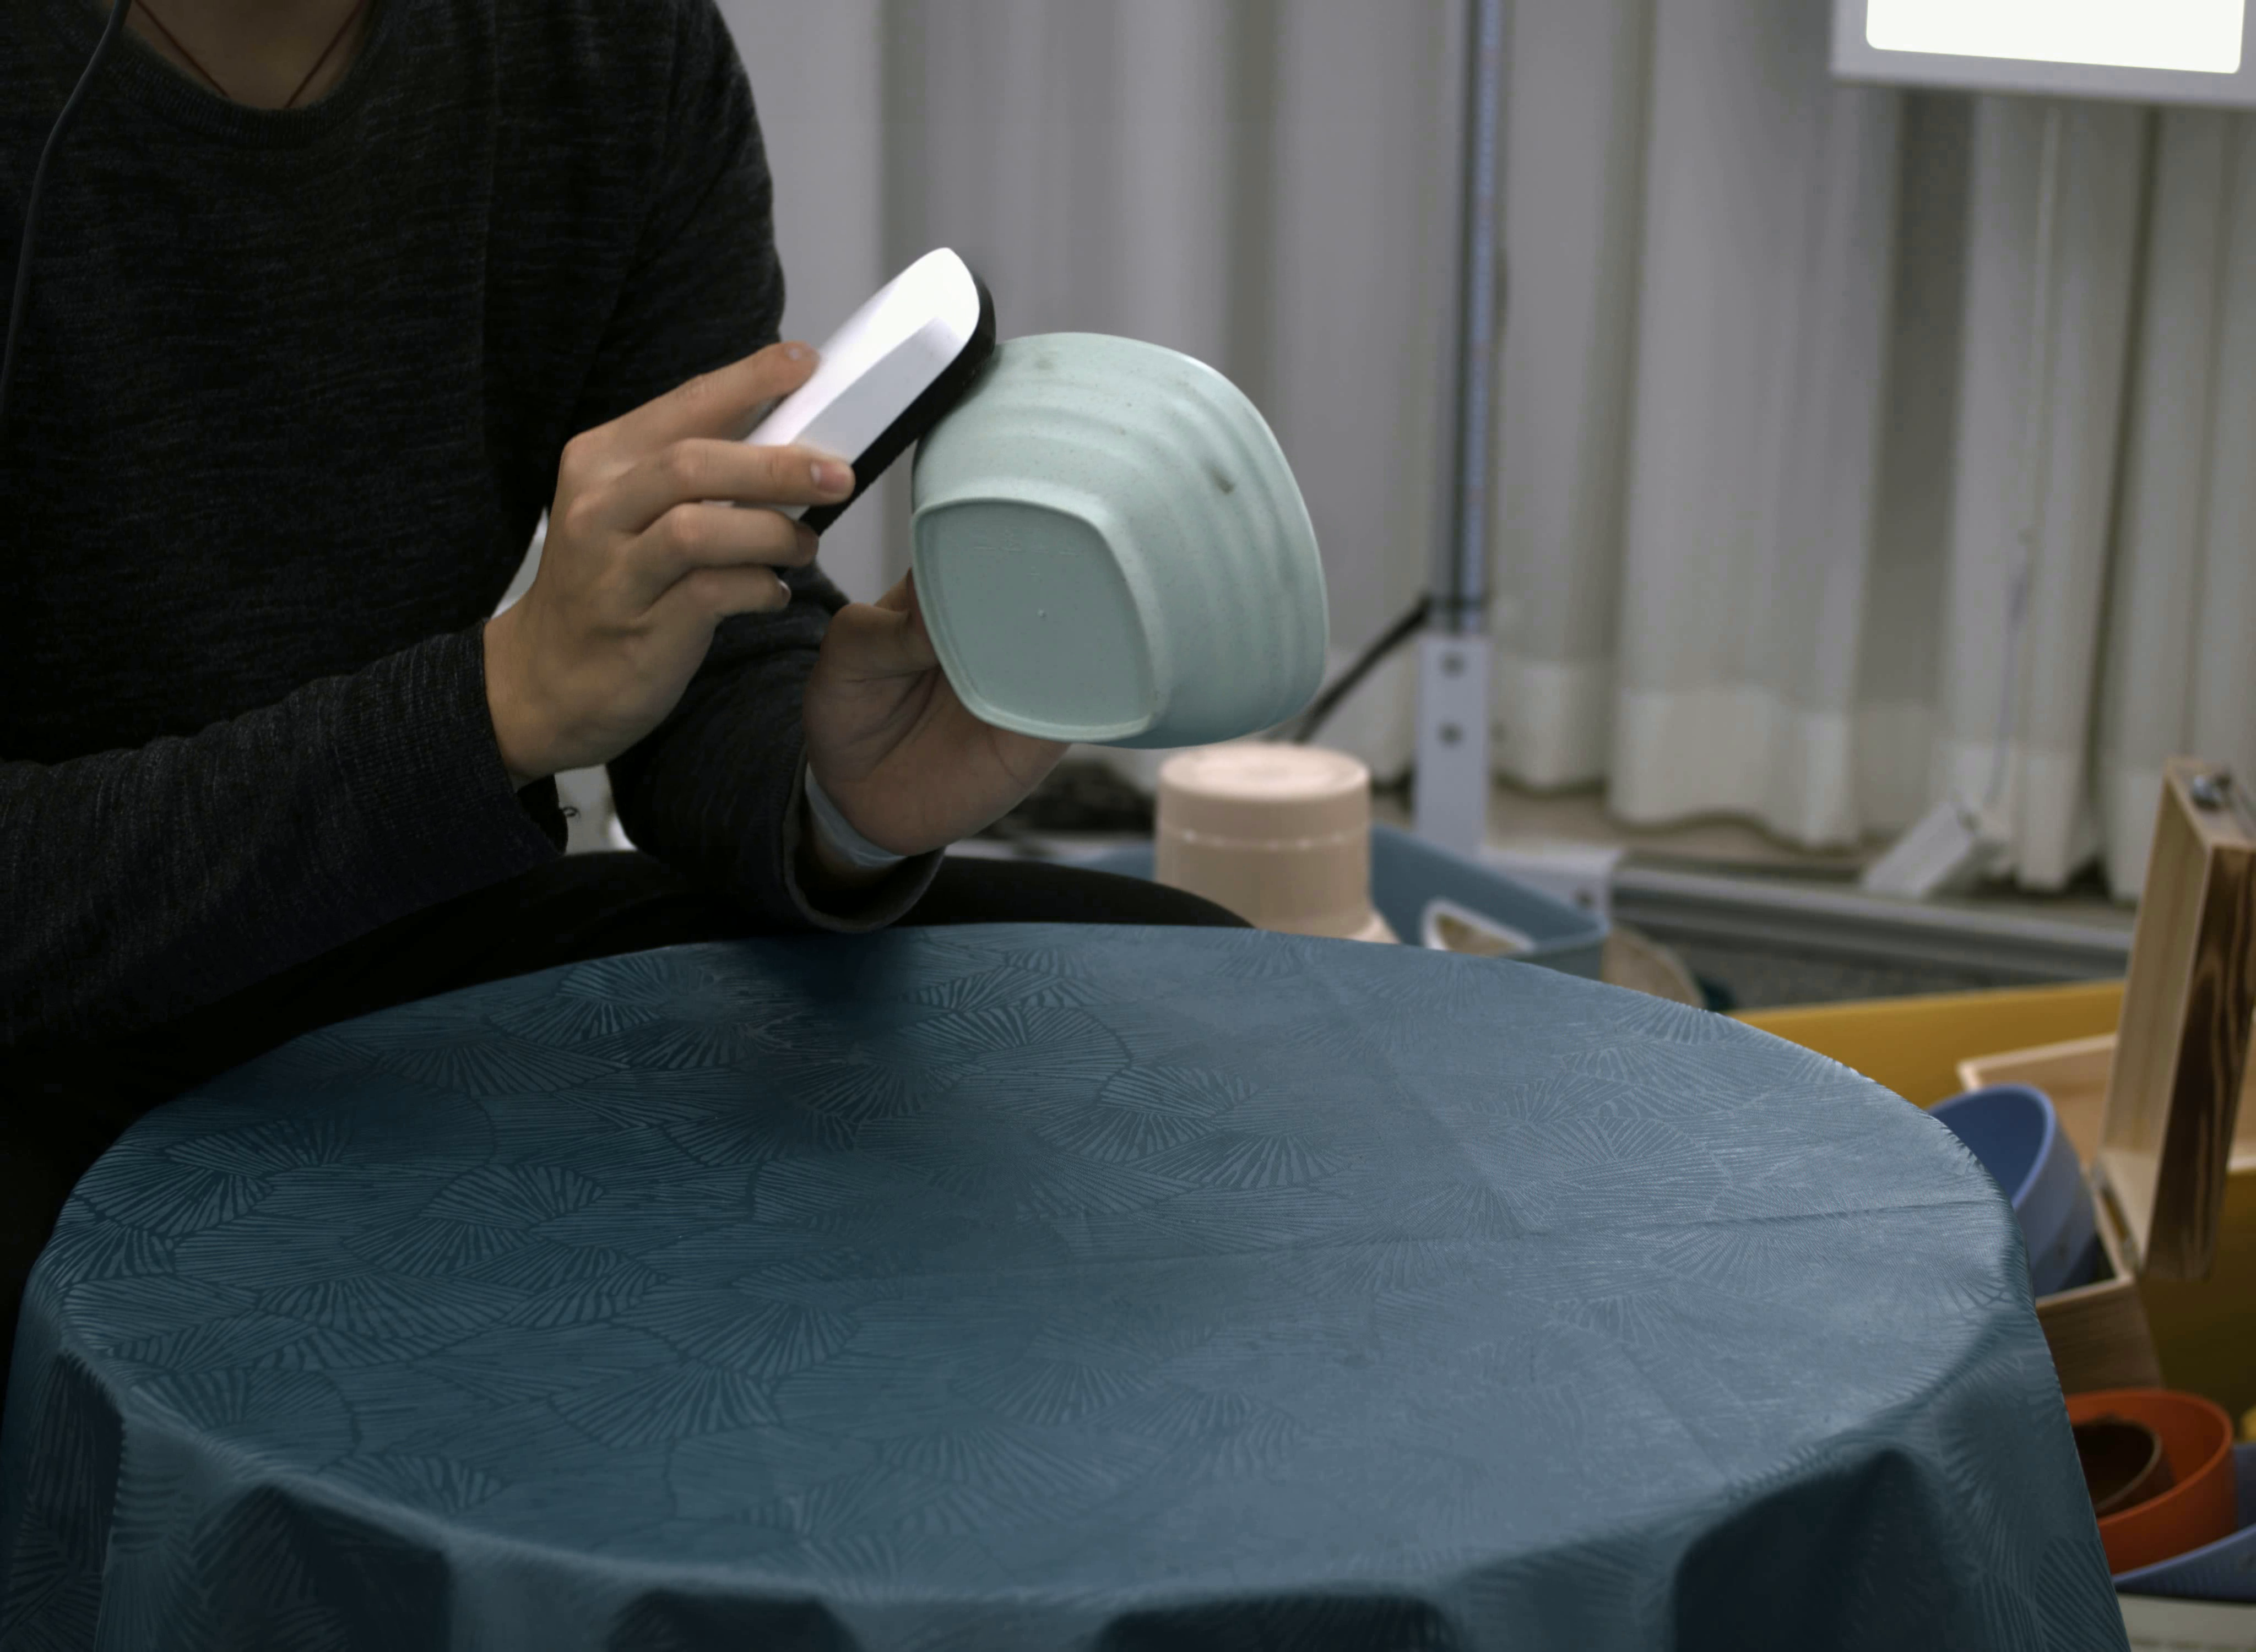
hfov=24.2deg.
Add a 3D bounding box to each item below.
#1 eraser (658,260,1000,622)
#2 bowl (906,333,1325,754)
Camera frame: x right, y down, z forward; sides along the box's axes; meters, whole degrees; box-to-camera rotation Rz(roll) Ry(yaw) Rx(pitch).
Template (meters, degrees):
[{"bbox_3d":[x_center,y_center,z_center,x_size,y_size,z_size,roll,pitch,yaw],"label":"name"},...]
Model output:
[{"bbox_3d":[-0.094,-0.120,1.619,0.035,0.131,0.063,42,20,-17],"label":"eraser"},{"bbox_3d":[-0.015,-0.075,1.596,0.149,0.153,0.058,12,37,33],"label":"bowl"}]
